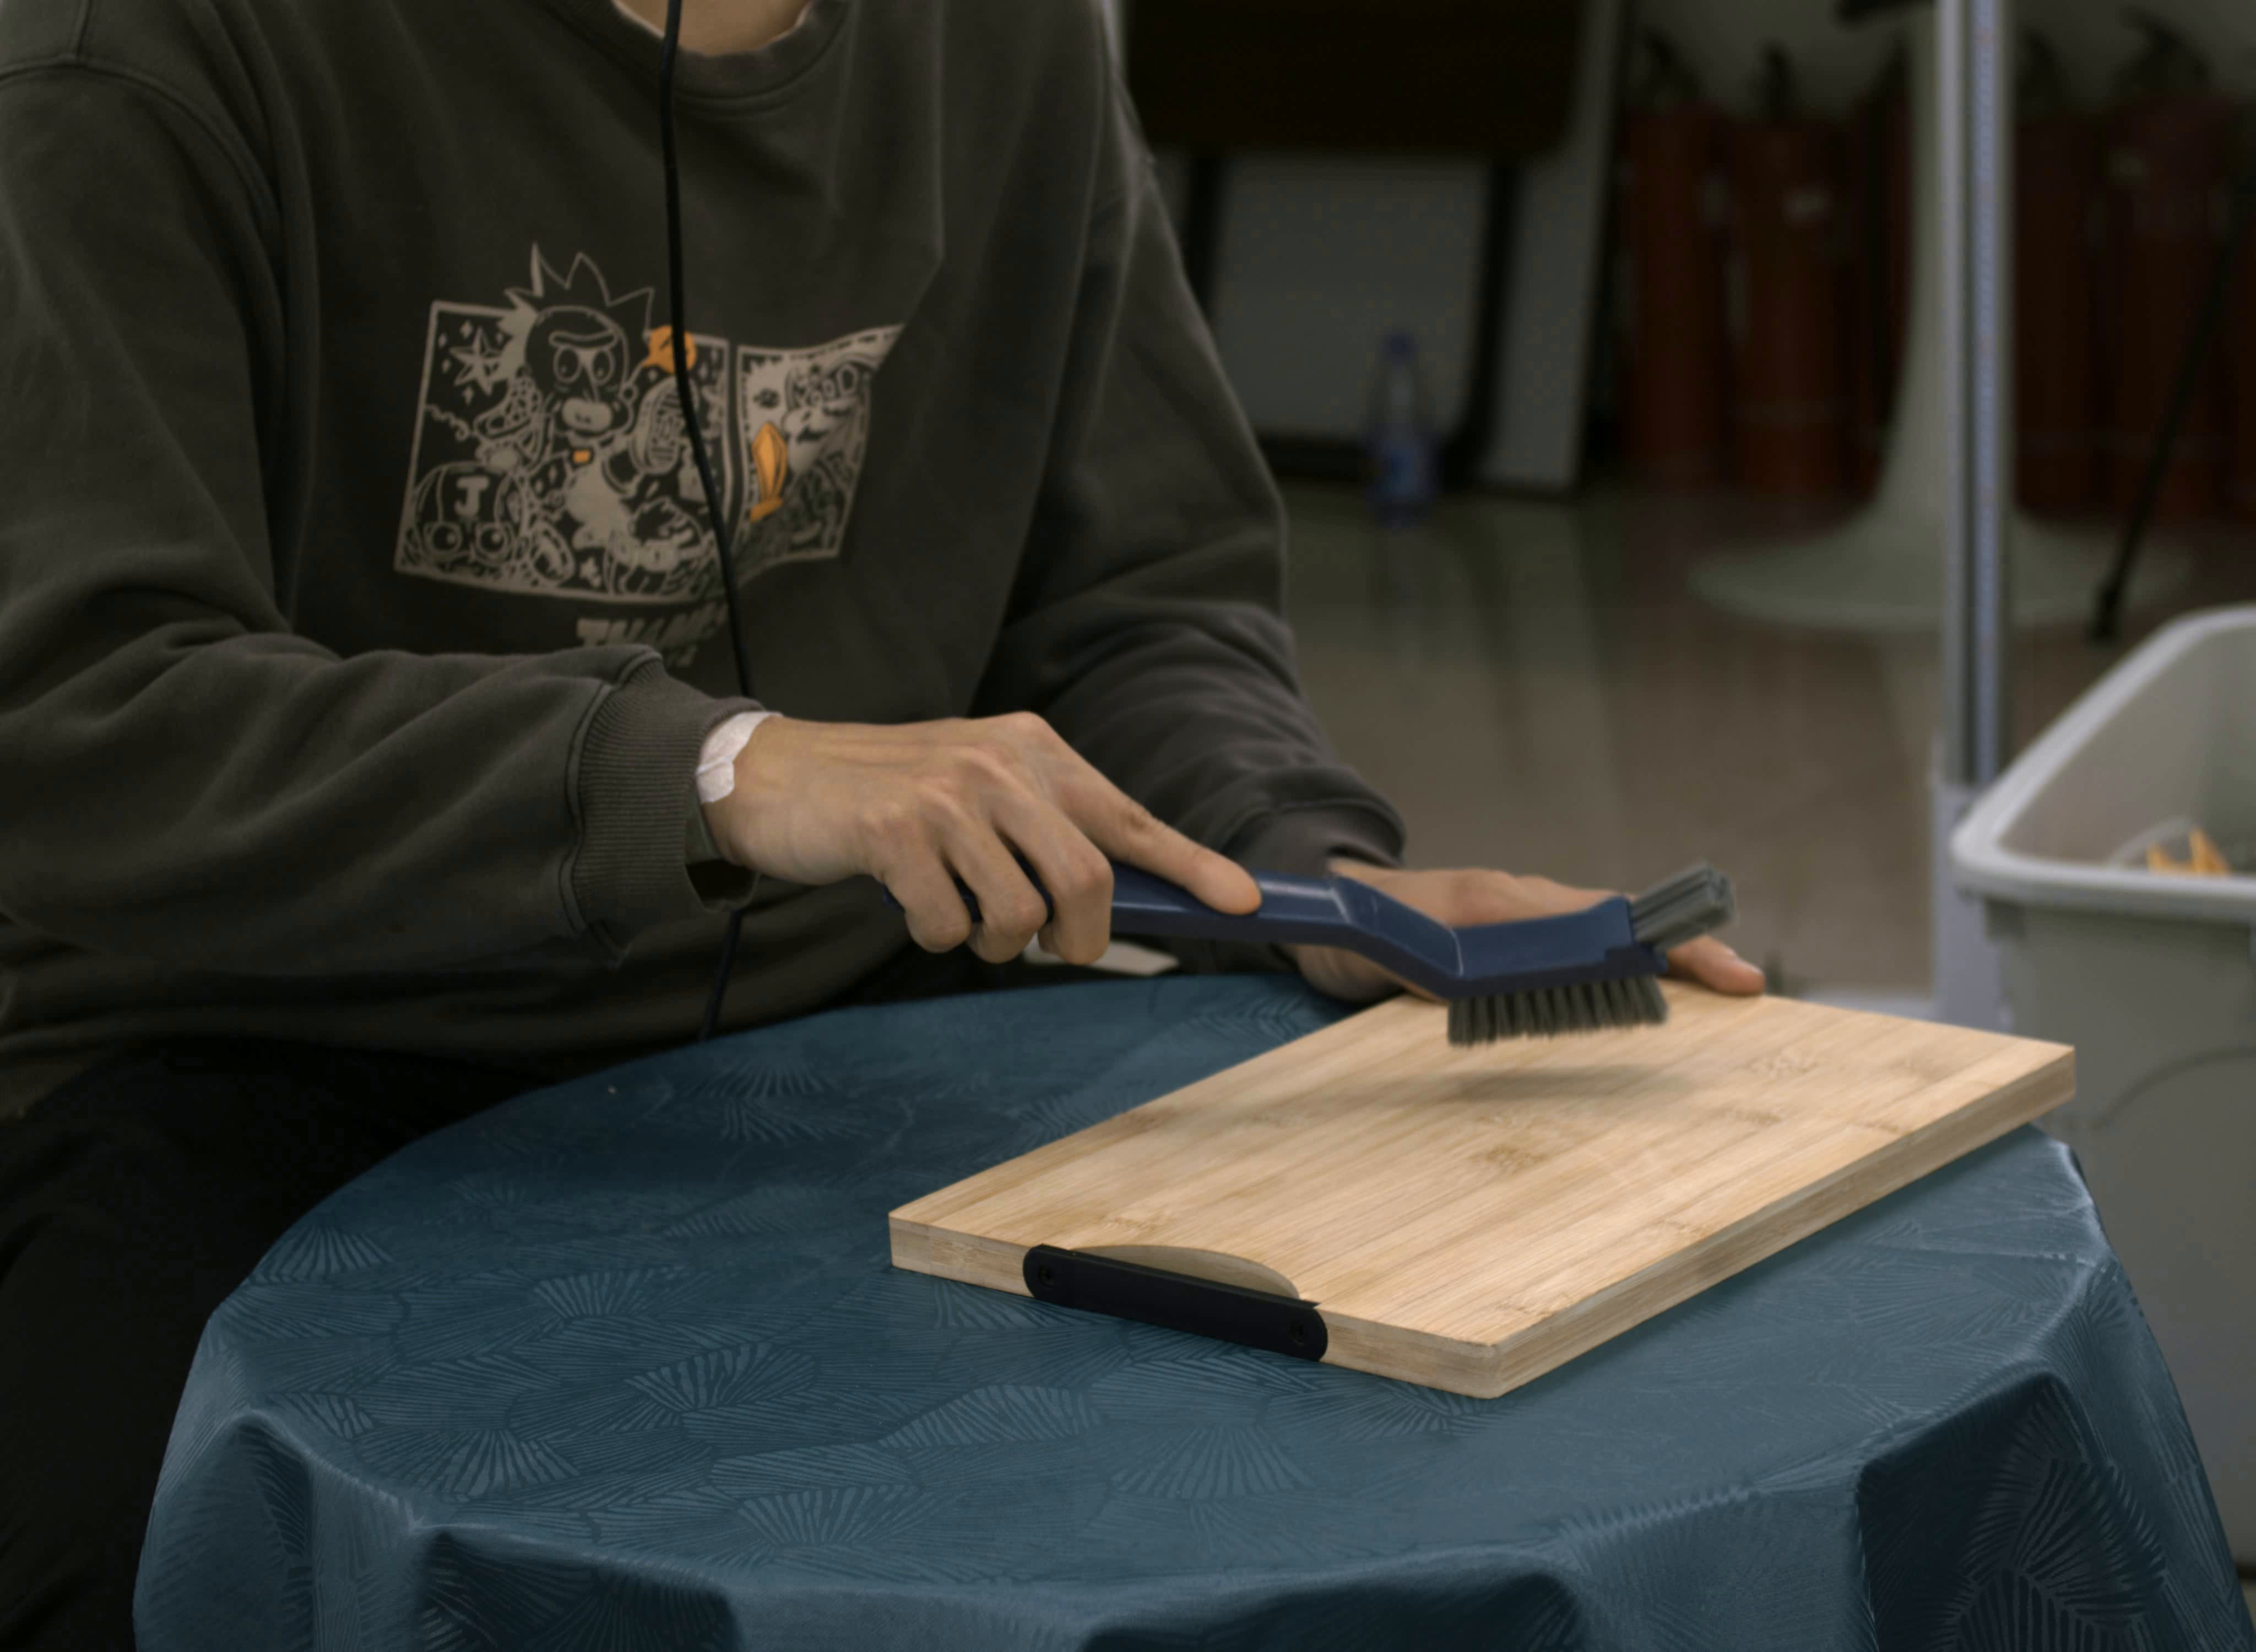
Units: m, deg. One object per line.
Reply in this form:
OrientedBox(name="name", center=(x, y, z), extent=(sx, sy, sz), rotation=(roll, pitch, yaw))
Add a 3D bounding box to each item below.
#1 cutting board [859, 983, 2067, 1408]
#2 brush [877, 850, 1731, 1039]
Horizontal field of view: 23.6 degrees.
OrientedBox(name="cutting board", center=(0.116, 0.112, 1.751), extent=(0.252, 0.024, 0.342), rotation=(6, 17, 39))
OrientedBox(name="brush", center=(0.056, 0.023, 1.764), extent=(0.268, 0.096, 0.034), rotation=(10, 44, -10))
